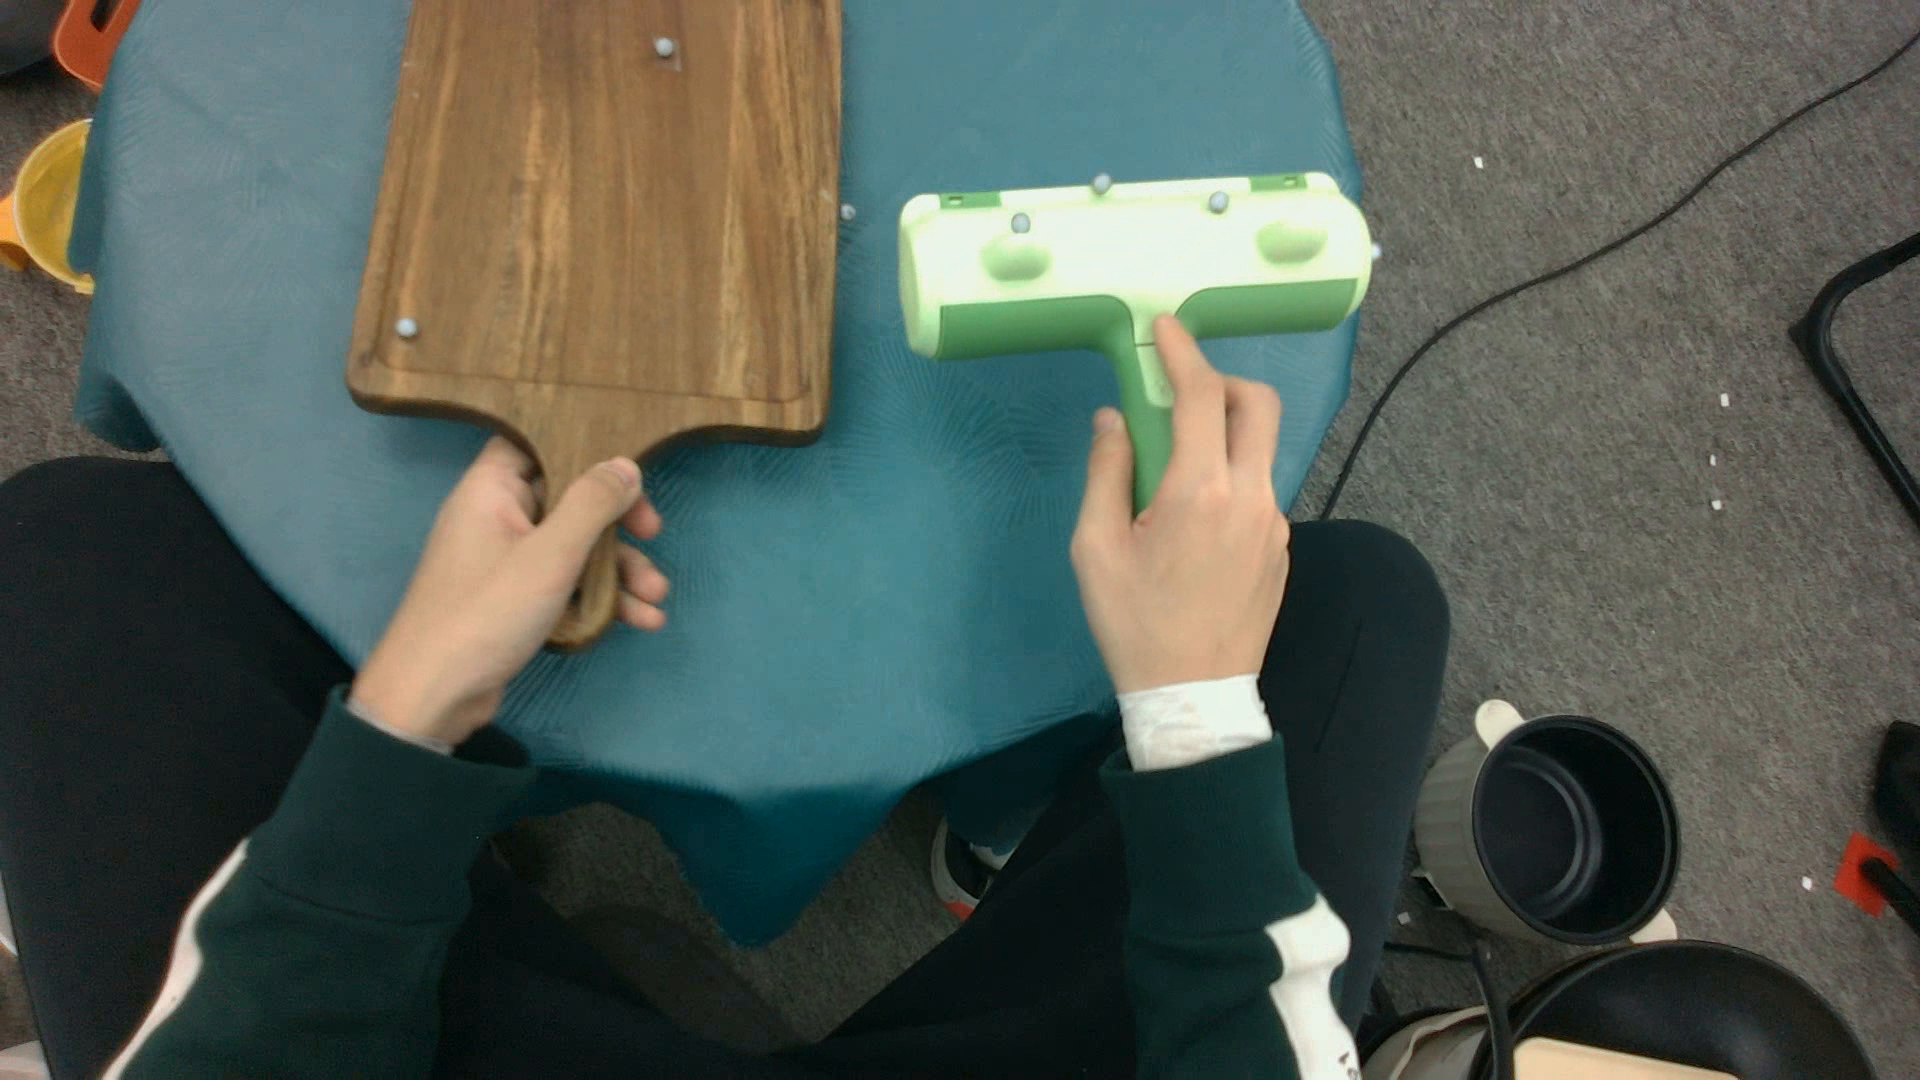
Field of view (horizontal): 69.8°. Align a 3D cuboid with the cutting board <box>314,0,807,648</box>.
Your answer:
[{"bbox_3d":[-0.170,-0.124,0.609,0.201,0.023,0.353,3,69,-11],"label":"cutting board"}]

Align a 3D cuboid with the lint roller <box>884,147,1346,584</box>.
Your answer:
[{"bbox_3d":[0.078,-0.078,0.565,0.199,0.082,0.184,-7,69,-12],"label":"lint roller"}]
